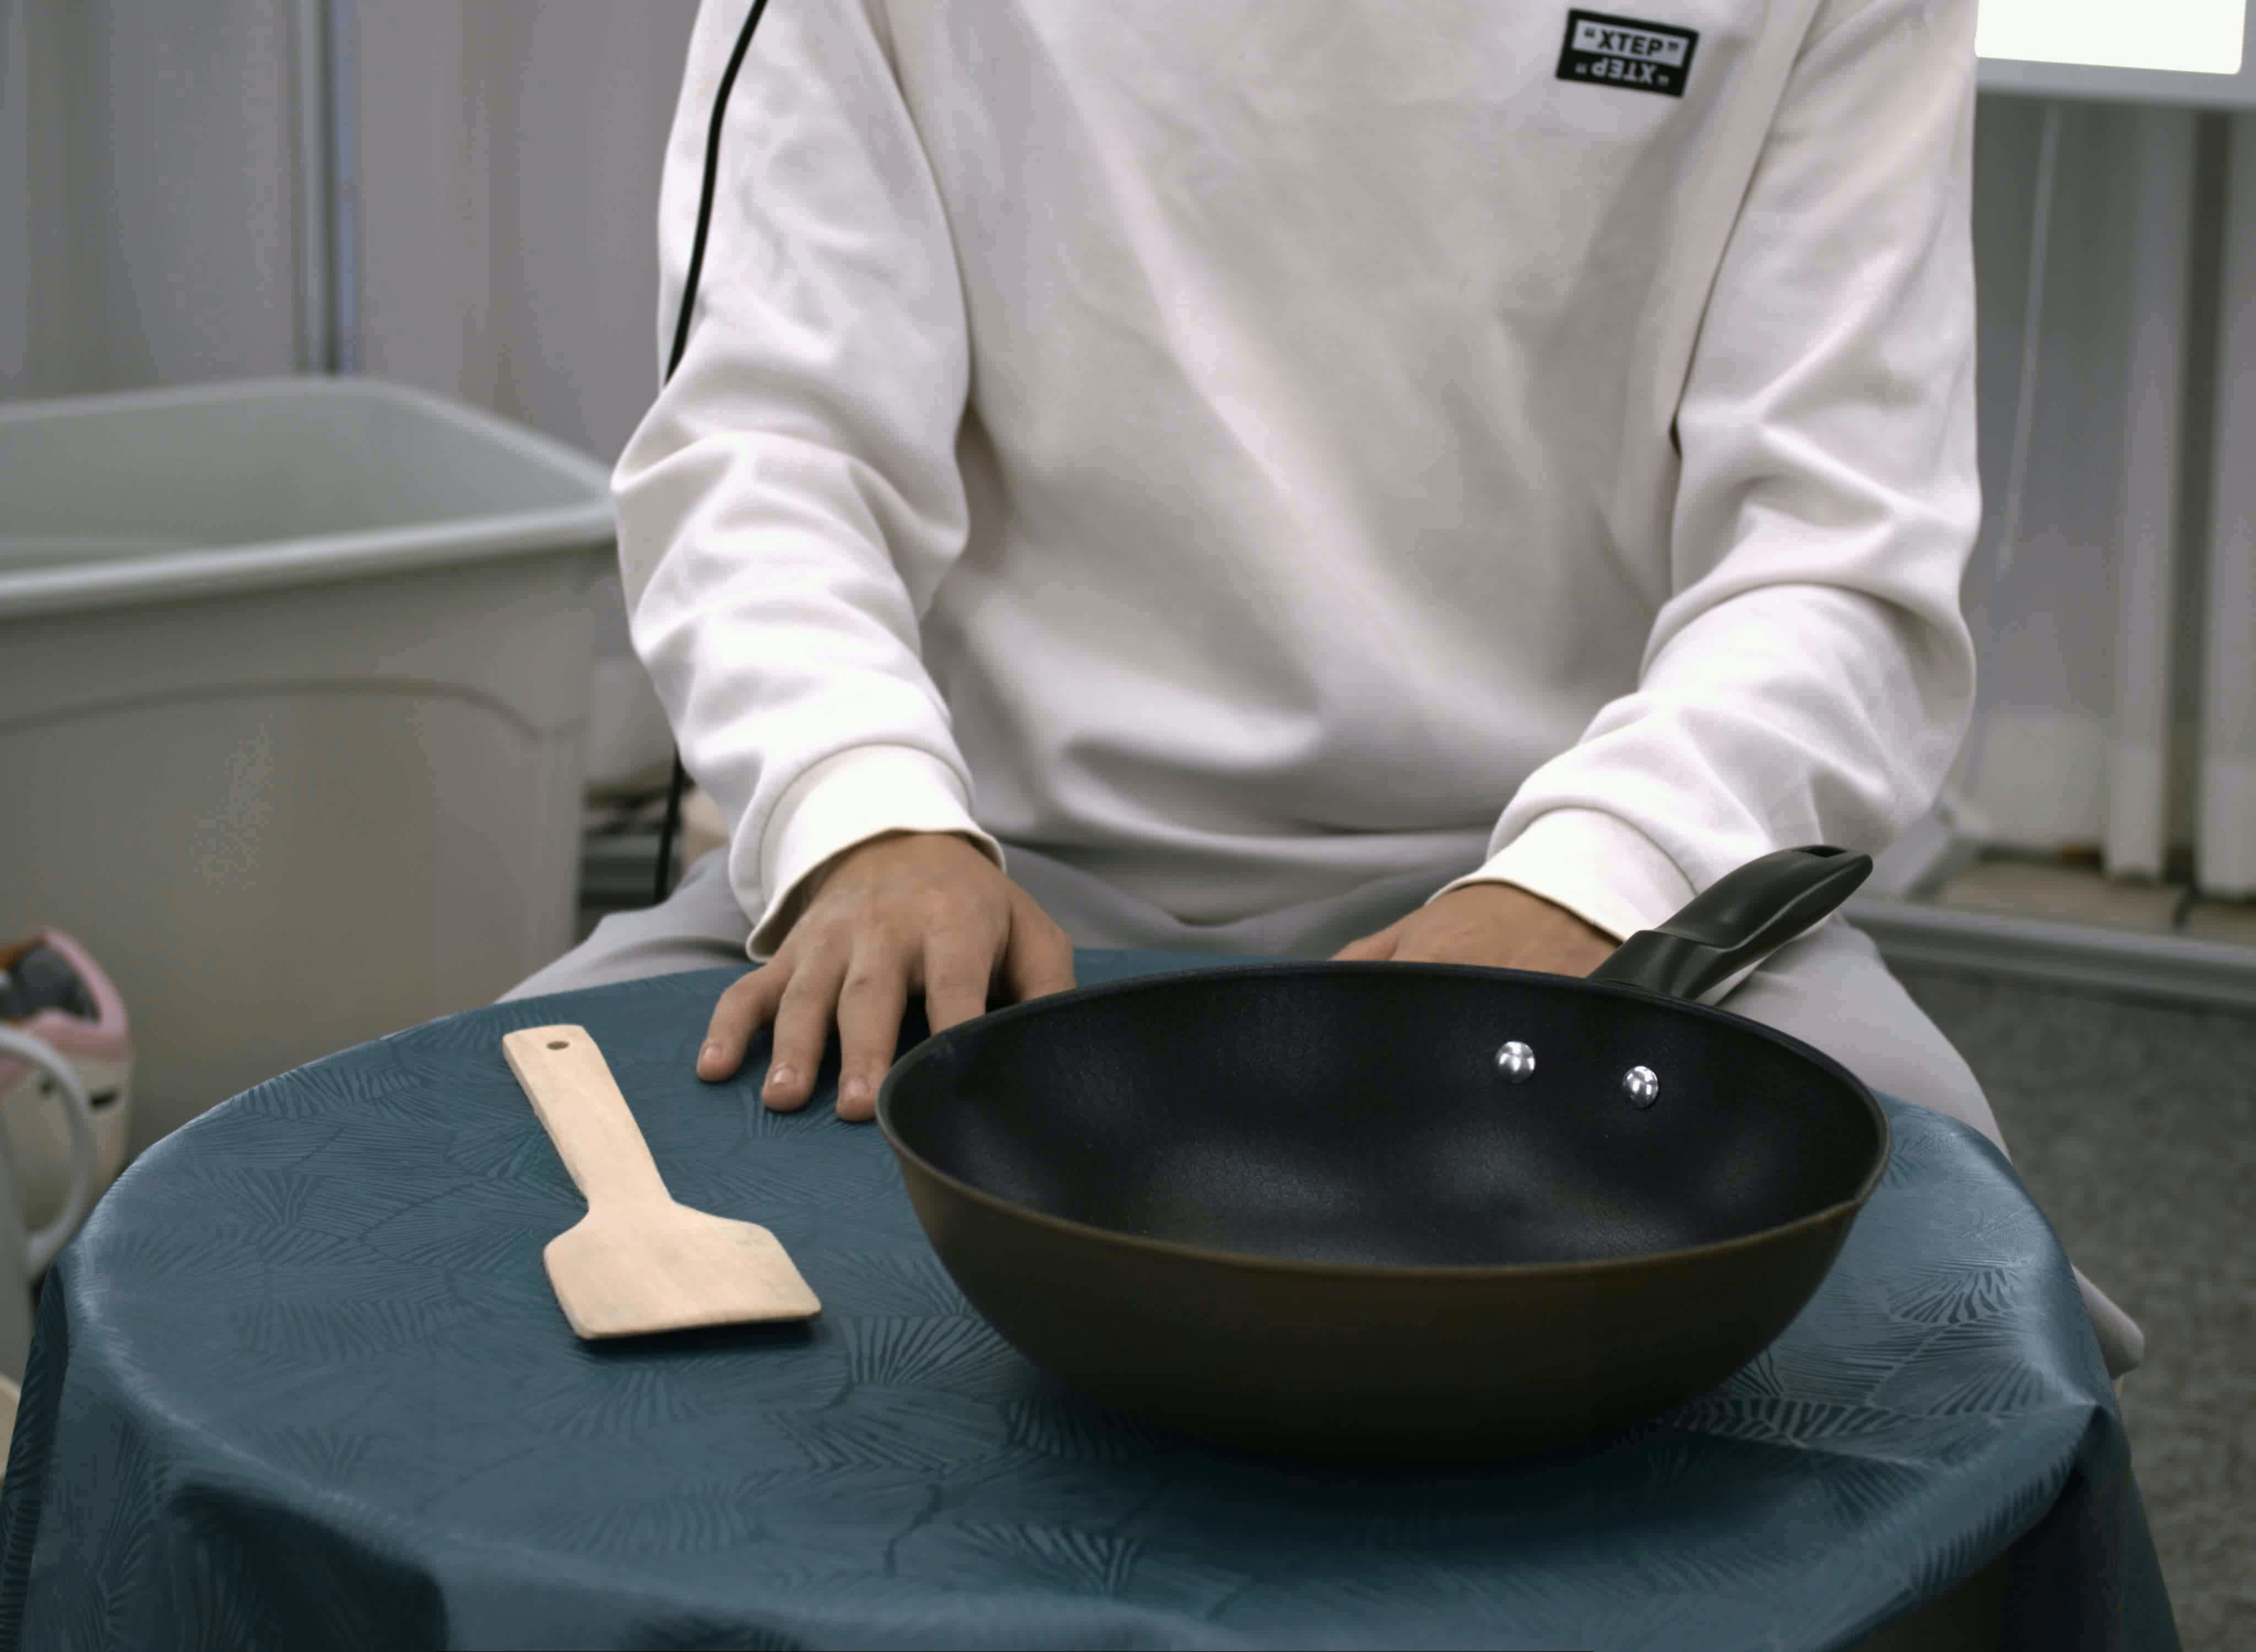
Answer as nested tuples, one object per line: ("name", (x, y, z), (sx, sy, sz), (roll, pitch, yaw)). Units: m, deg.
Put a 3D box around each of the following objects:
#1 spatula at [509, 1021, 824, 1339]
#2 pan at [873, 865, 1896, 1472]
("spatula", (-0.158, 0.106, 1.628), (0.072, 0.011, 0.290), (-5, 16, -15))
("pan", (0.115, 0.095, 1.546), (0.285, 0.087, 0.465), (10, 17, 29))
